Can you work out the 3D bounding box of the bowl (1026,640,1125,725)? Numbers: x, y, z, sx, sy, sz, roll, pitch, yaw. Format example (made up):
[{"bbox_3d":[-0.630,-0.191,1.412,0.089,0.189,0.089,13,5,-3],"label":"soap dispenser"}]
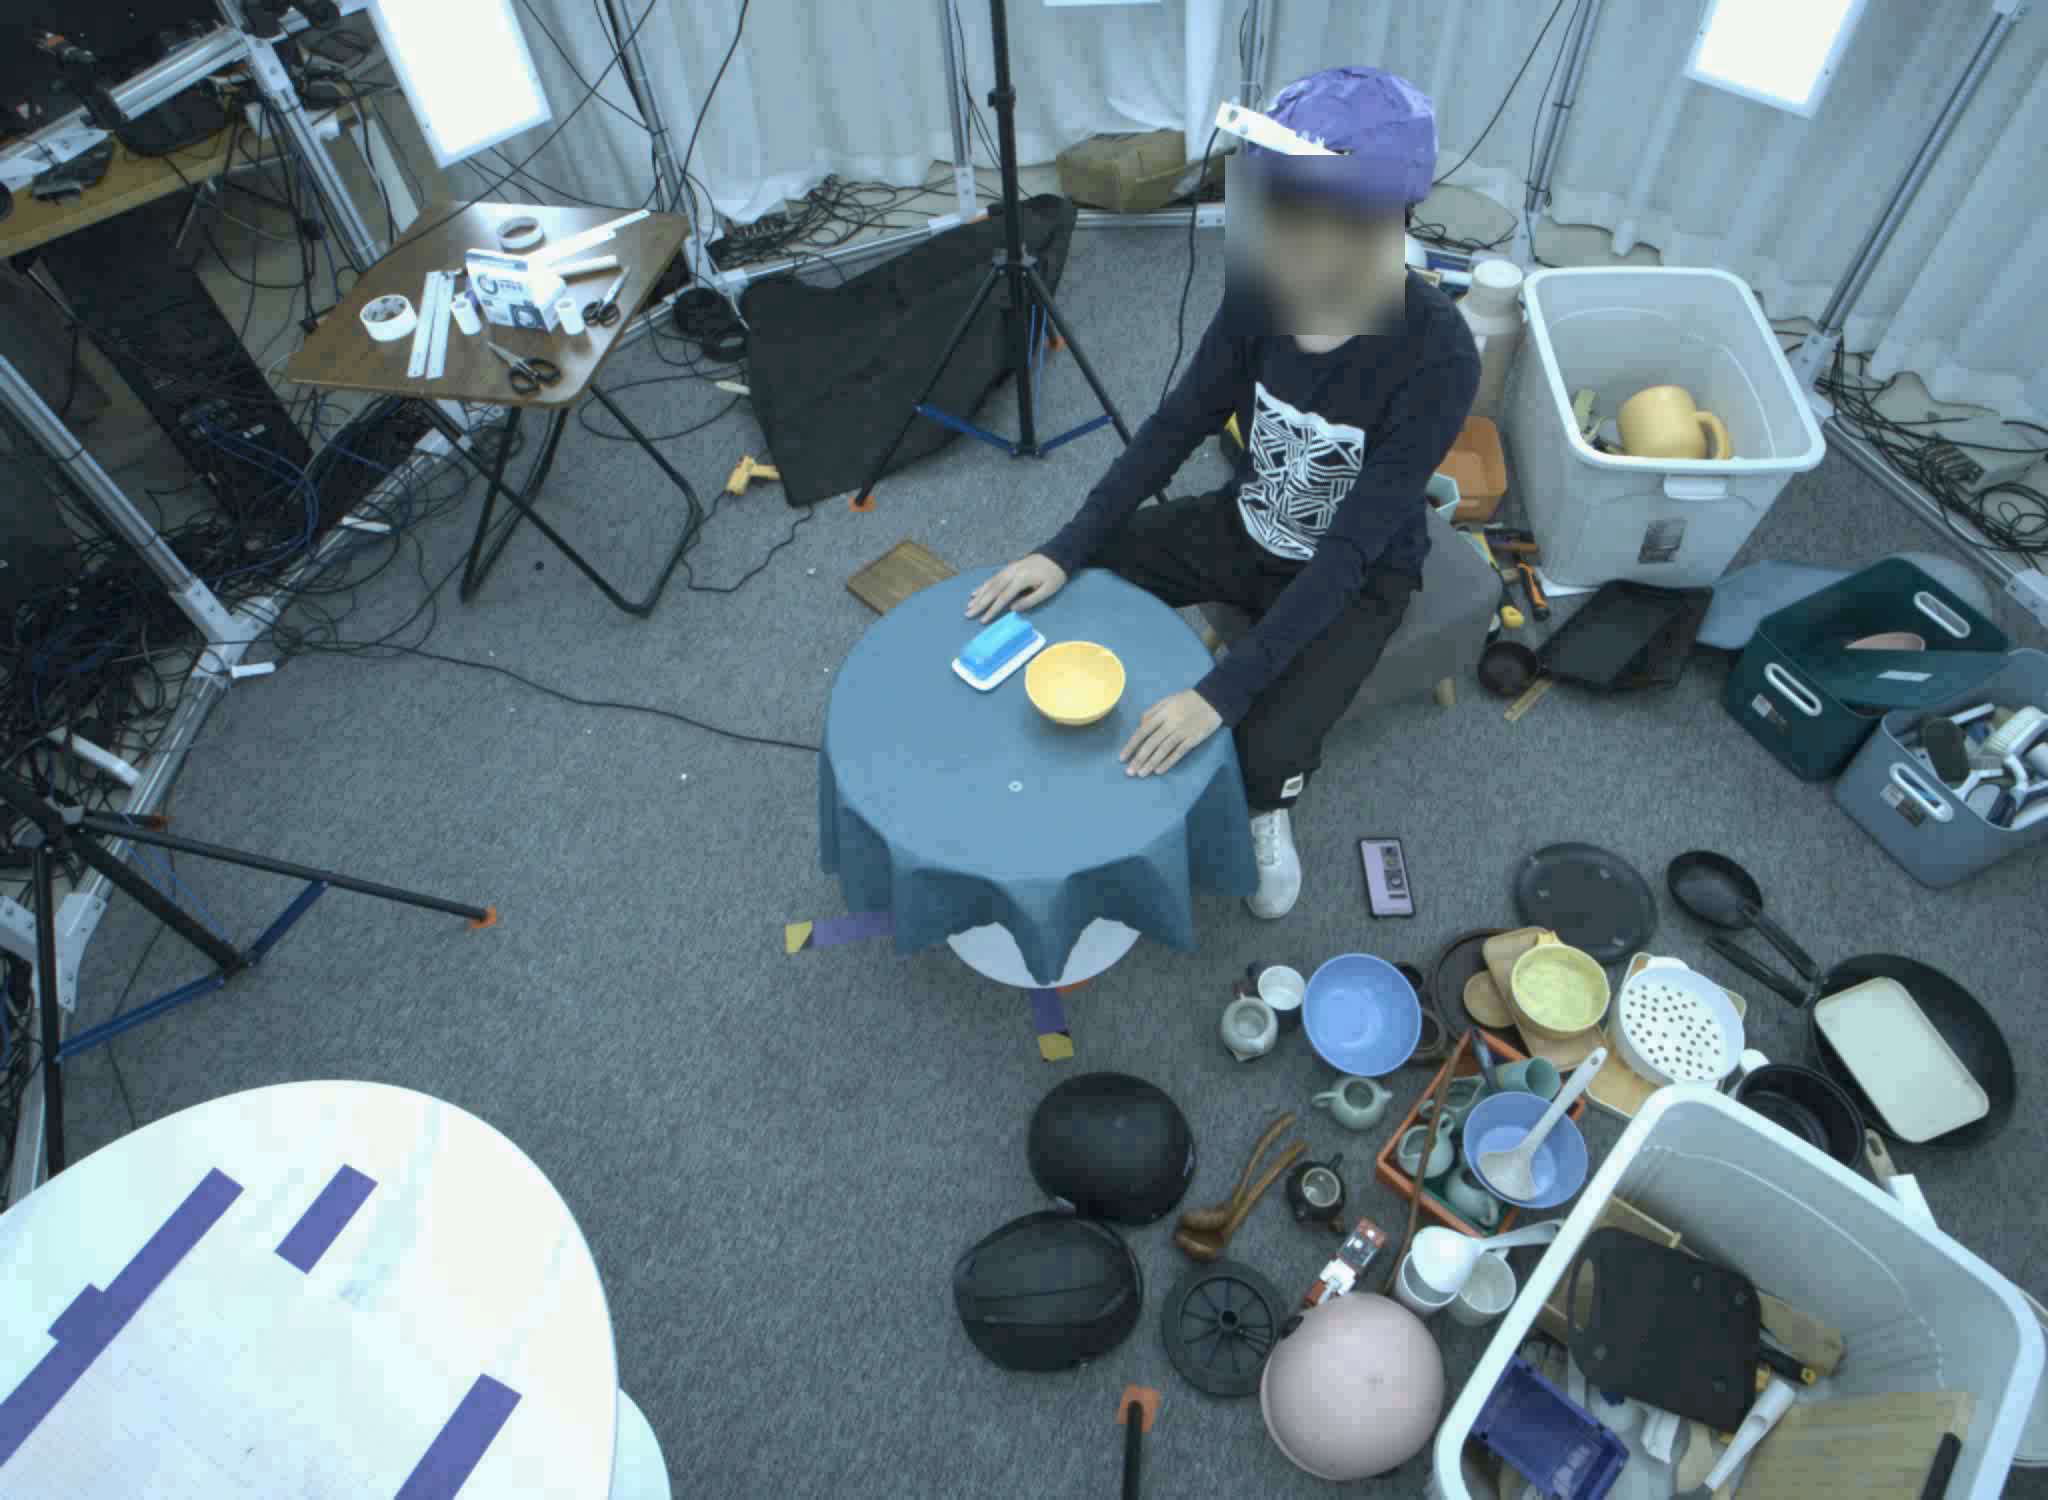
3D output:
[{"bbox_3d":[0.076,-0.087,1.805,0.145,0.061,0.144,-1,56,2],"label":"bowl"}]

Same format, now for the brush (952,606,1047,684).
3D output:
[{"bbox_3d":[-0.037,-0.168,1.863,0.145,0.056,0.082,-40,66,-21],"label":"brush"}]
